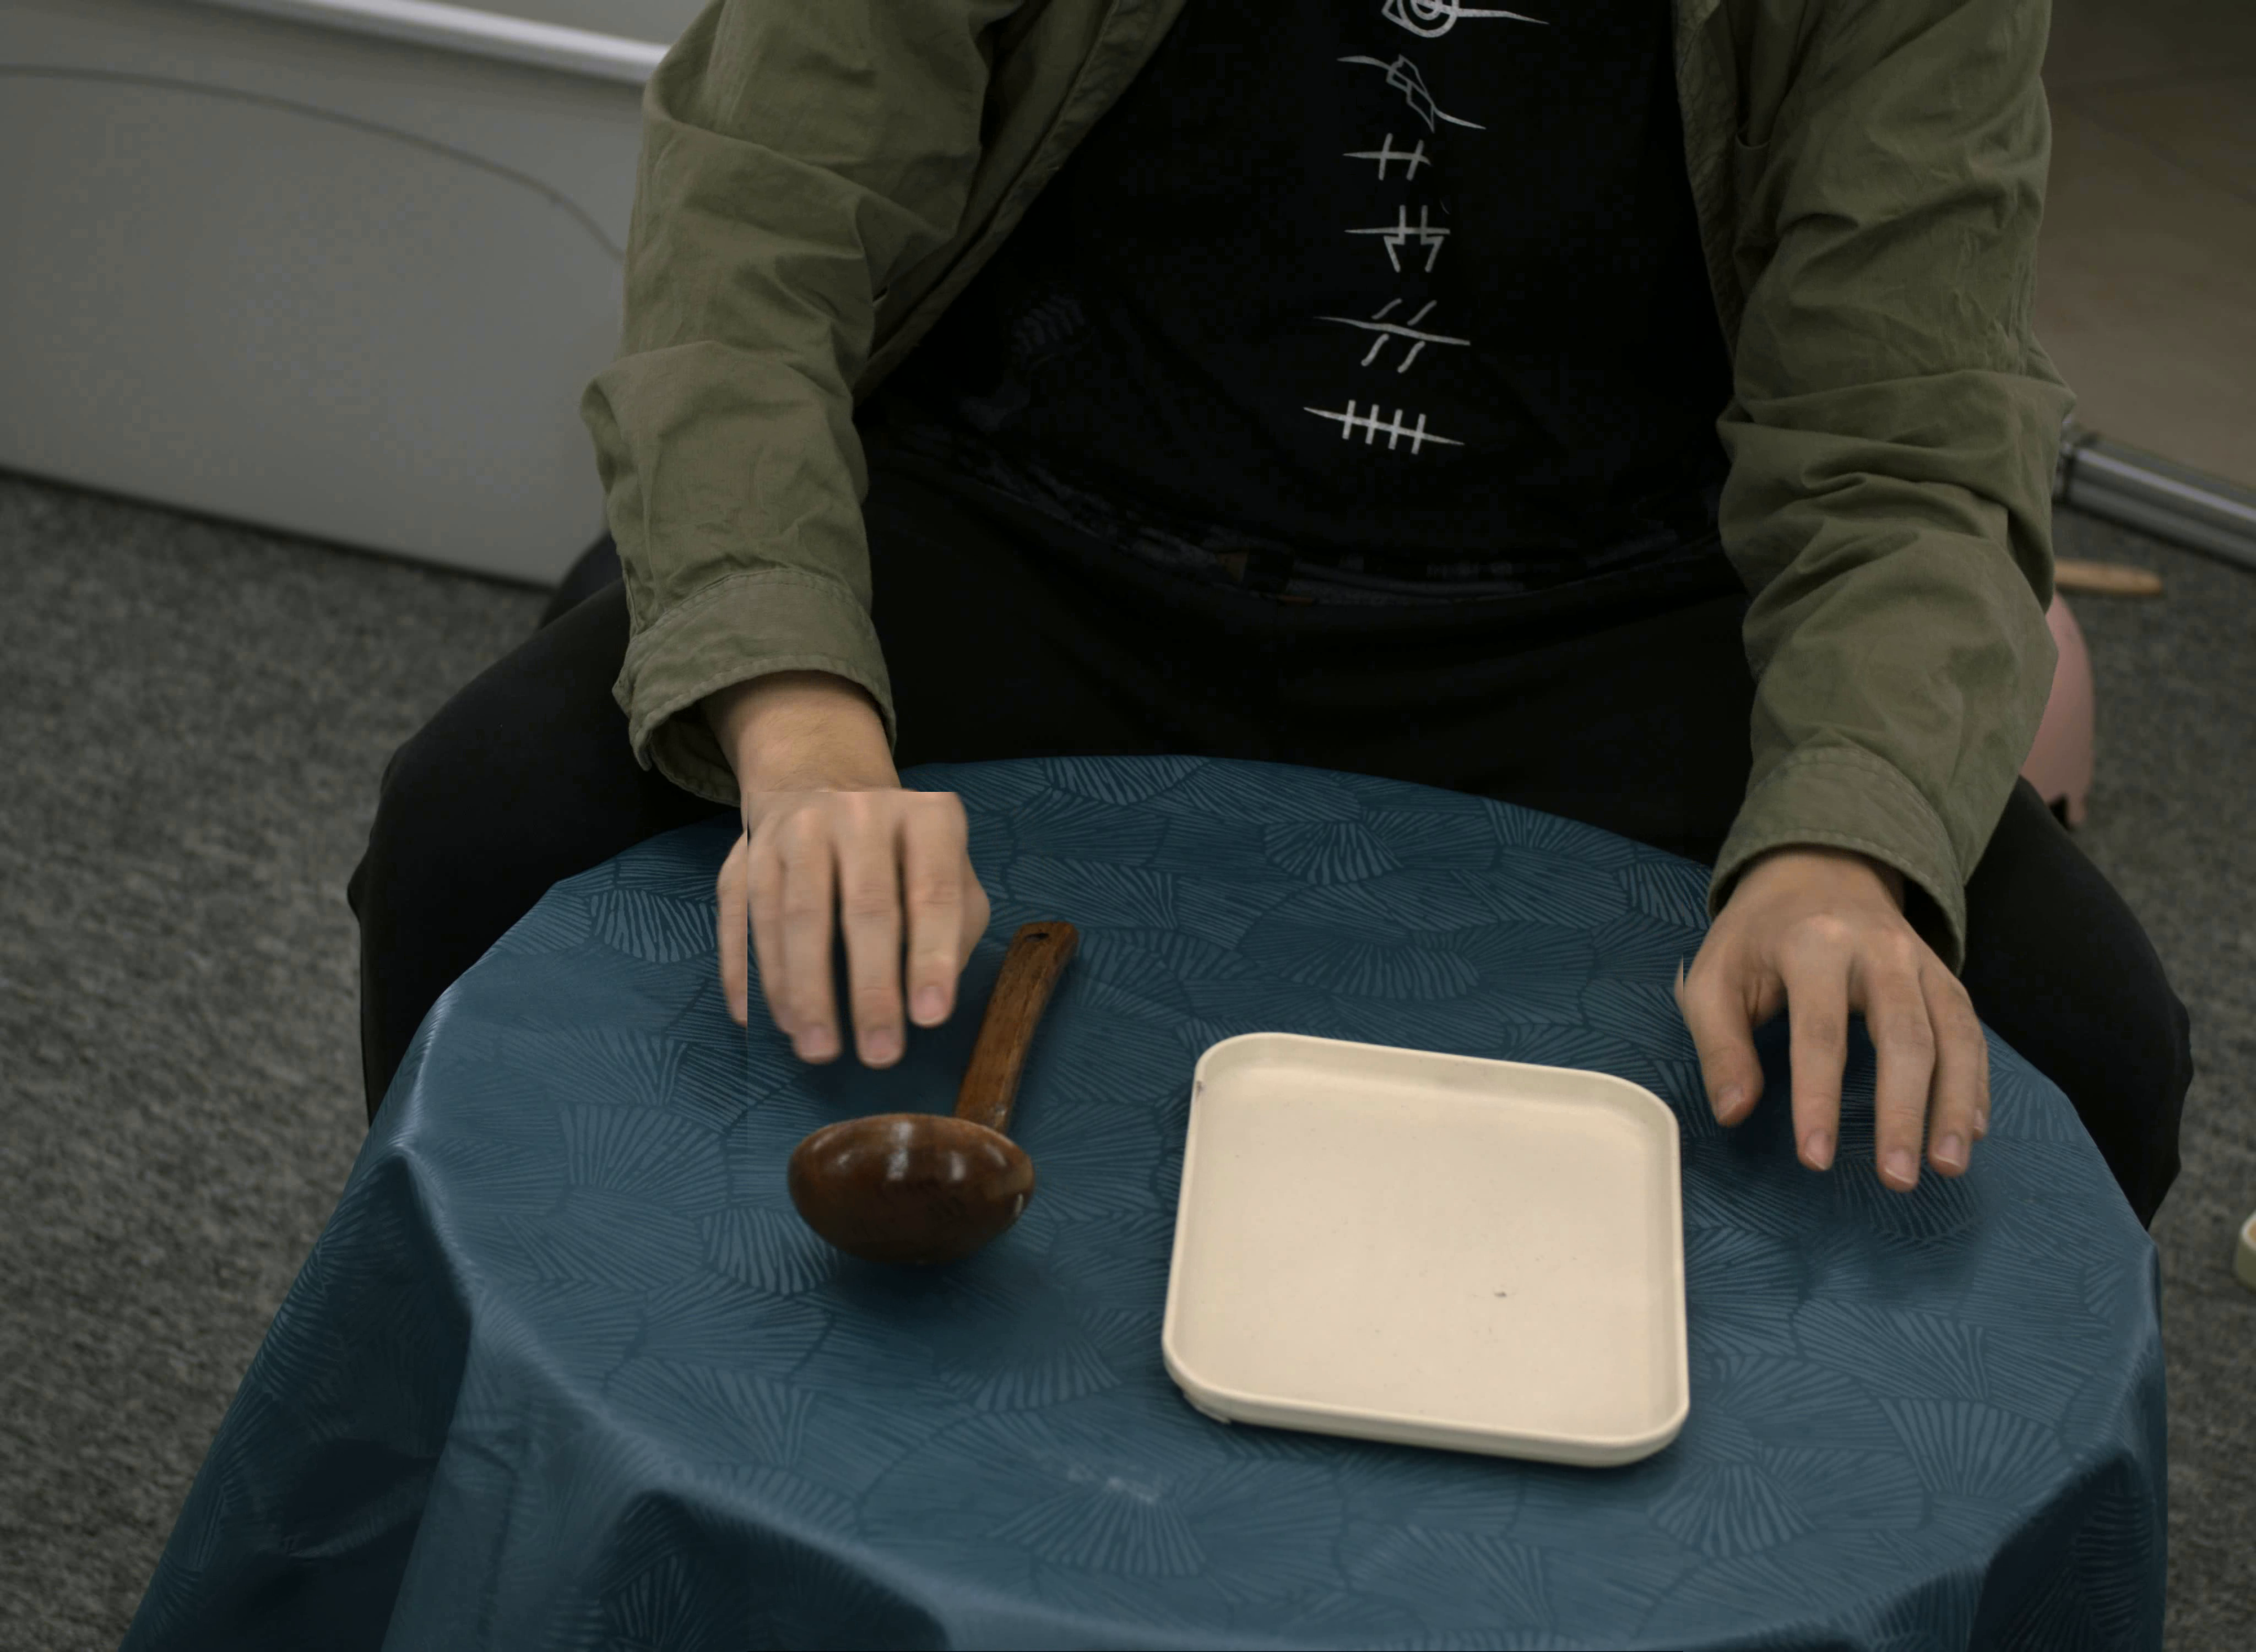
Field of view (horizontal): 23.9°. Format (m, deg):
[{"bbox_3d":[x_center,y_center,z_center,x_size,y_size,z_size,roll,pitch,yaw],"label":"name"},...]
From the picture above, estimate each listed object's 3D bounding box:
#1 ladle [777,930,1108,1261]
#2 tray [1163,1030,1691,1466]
[{"bbox_3d":[-0.052,0.070,1.810,0.082,0.076,0.275,0,25,13],"label":"ladle"},{"bbox_3d":[0.100,0.139,1.770,0.171,0.017,0.241,7,26,1],"label":"tray"}]
